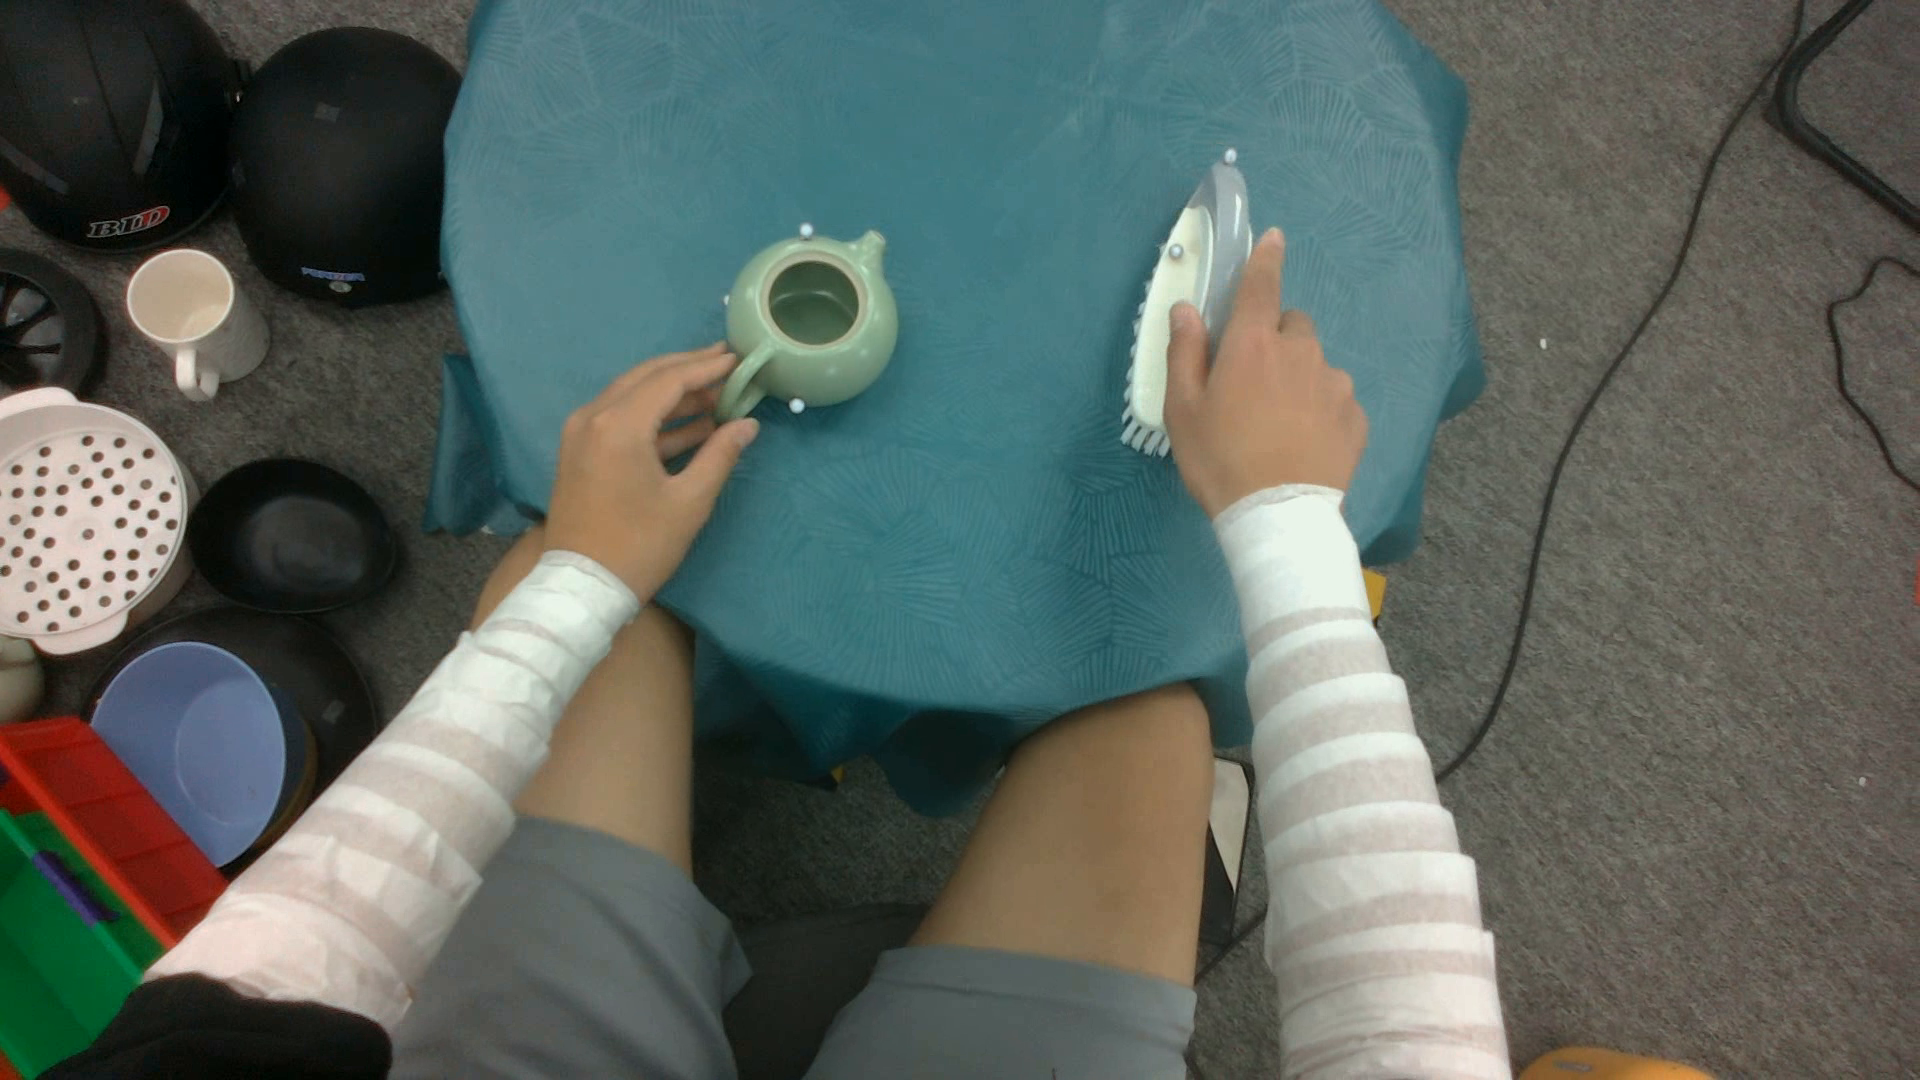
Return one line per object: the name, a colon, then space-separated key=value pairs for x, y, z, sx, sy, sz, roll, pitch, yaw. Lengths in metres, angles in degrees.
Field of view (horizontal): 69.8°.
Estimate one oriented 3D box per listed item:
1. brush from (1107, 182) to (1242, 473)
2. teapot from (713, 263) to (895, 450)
brush: x=0.129 y=-0.134 z=0.776 sx=0.061 sy=0.094 sz=0.176 roll=14 pitch=71 yaw=-8
teapot: x=-0.087 y=-0.096 z=0.749 sx=0.091 sy=0.061 sz=0.129 roll=42 pitch=73 yaw=3
